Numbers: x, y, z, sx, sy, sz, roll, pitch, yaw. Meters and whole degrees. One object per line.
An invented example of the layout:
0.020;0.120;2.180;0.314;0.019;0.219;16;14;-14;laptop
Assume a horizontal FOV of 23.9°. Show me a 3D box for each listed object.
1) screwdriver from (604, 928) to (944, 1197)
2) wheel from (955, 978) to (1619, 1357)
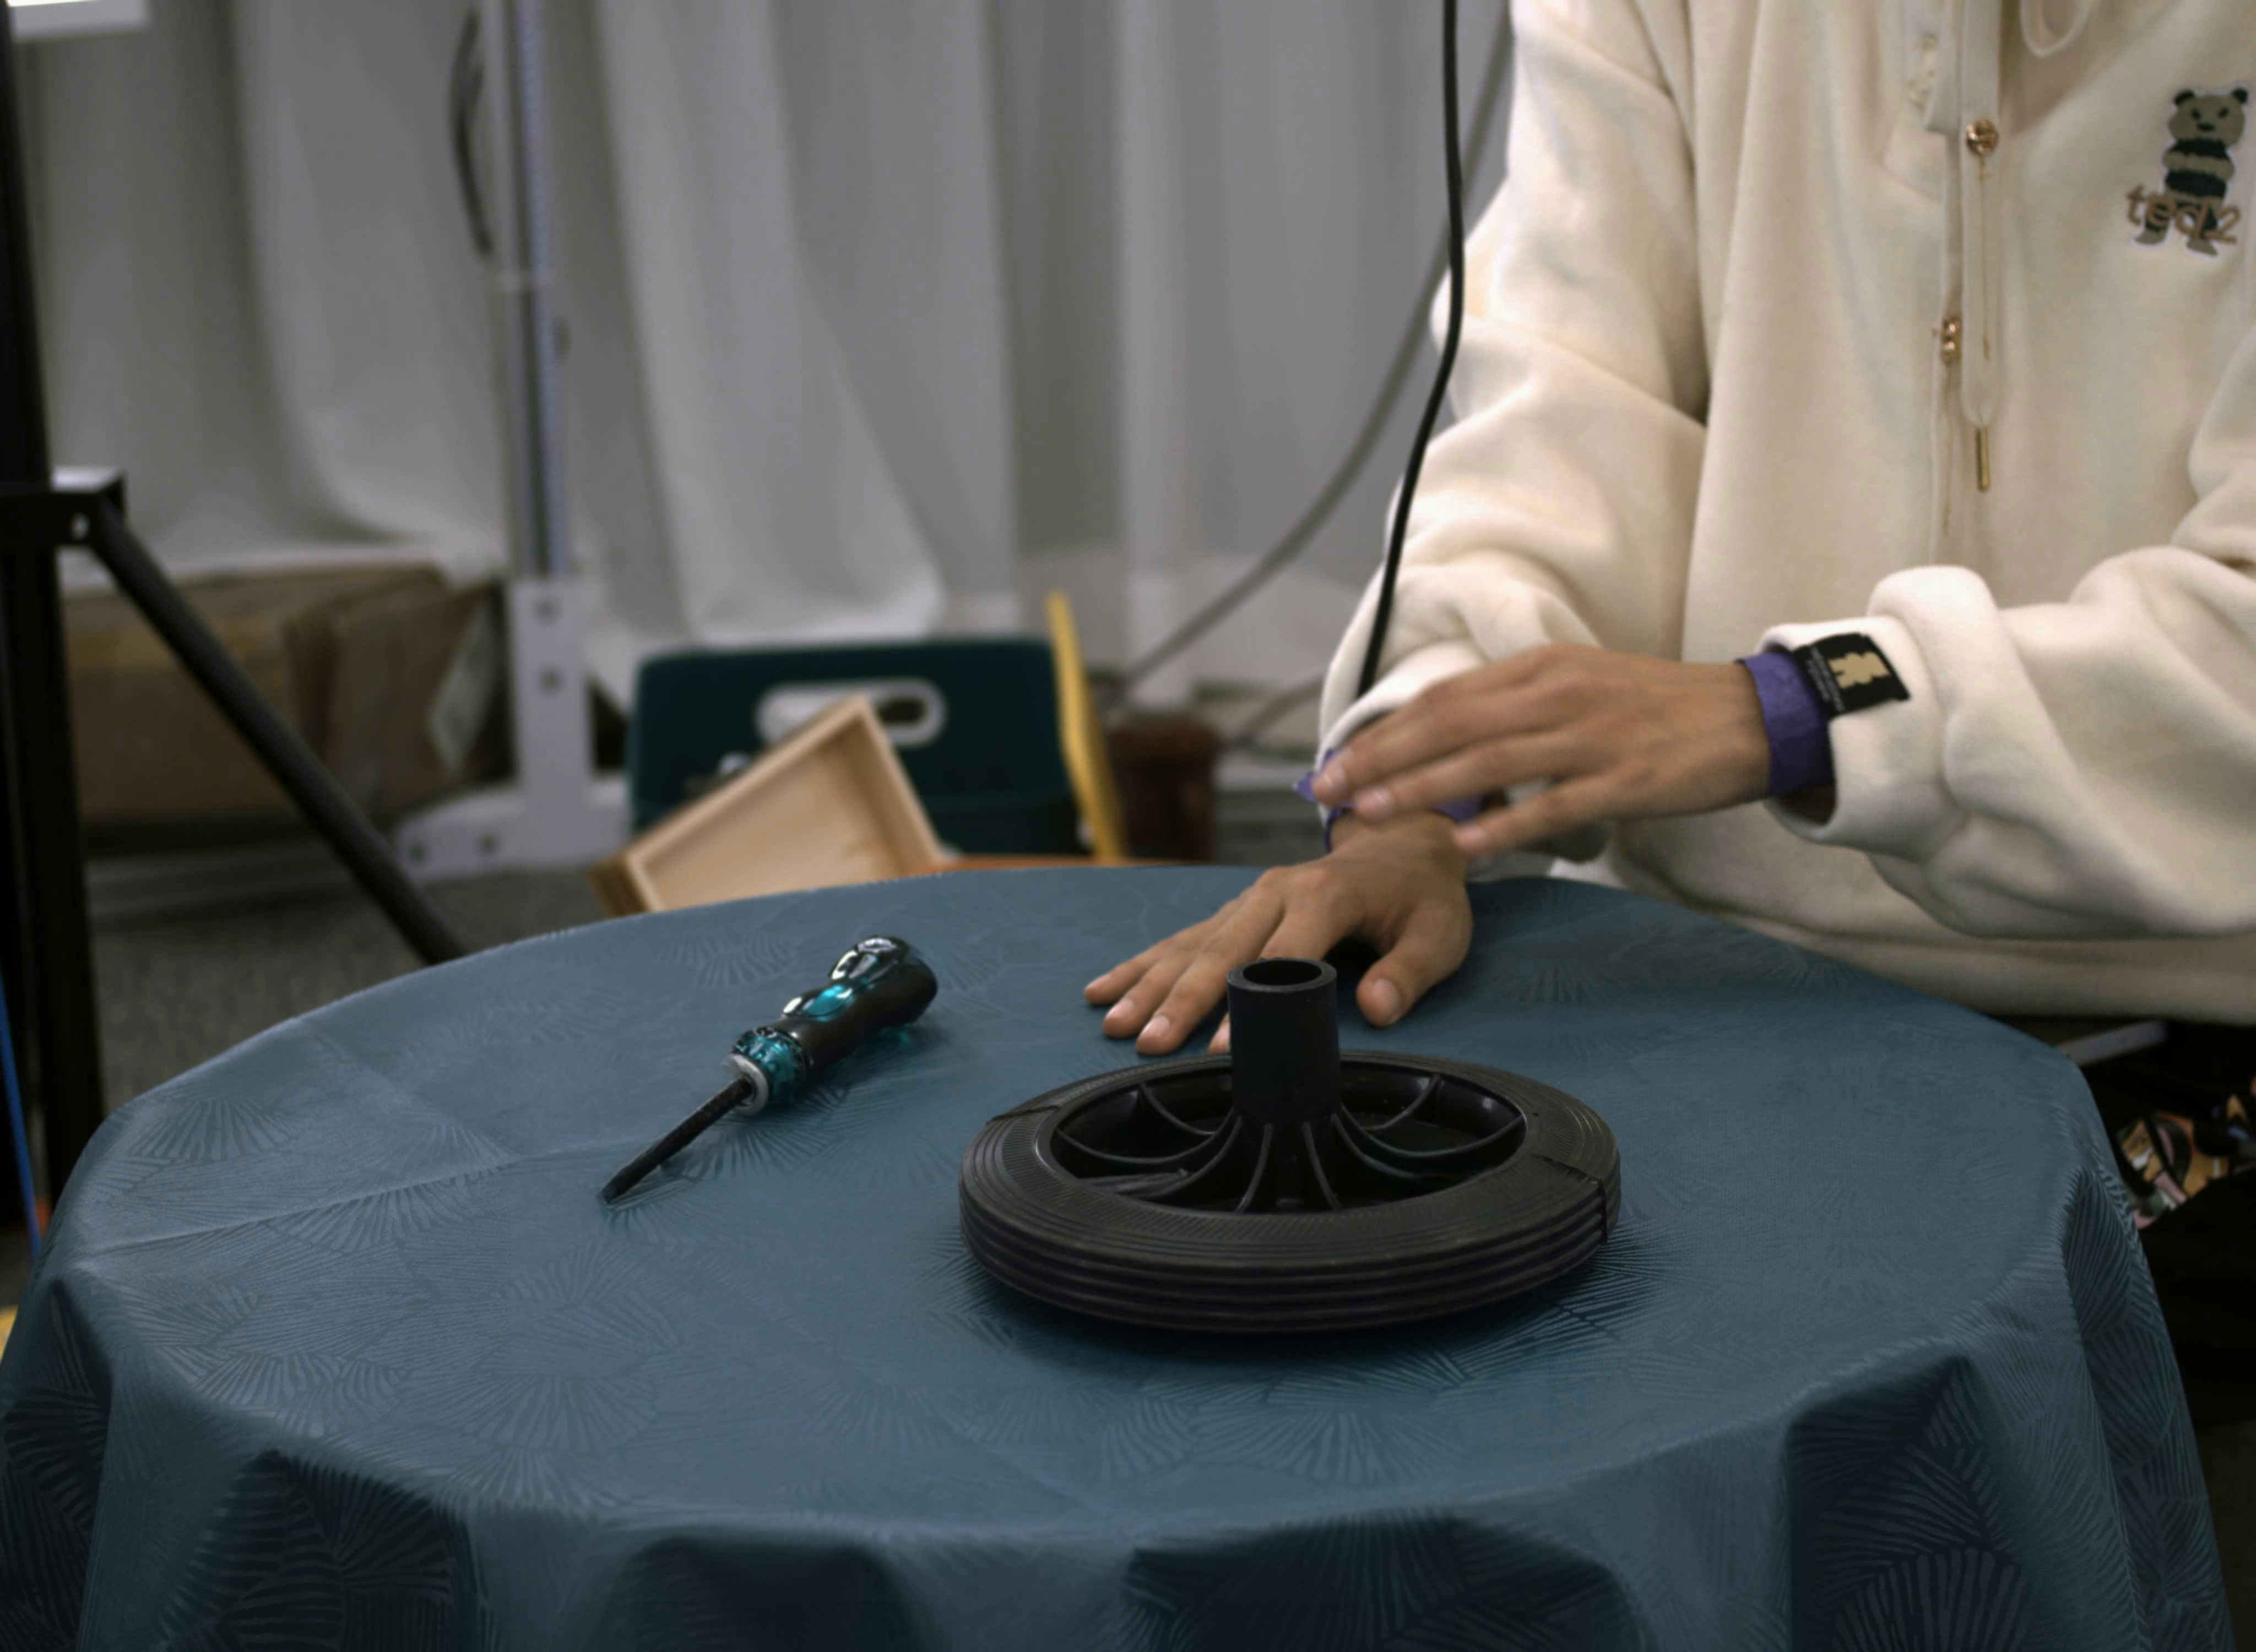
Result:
-0.111;0.076;1.650;0.034;0.033;0.187;6;23;27;screwdriver
0.043;0.085;1.494;0.186;0.079;0.191;-14;19;-28;wheel
